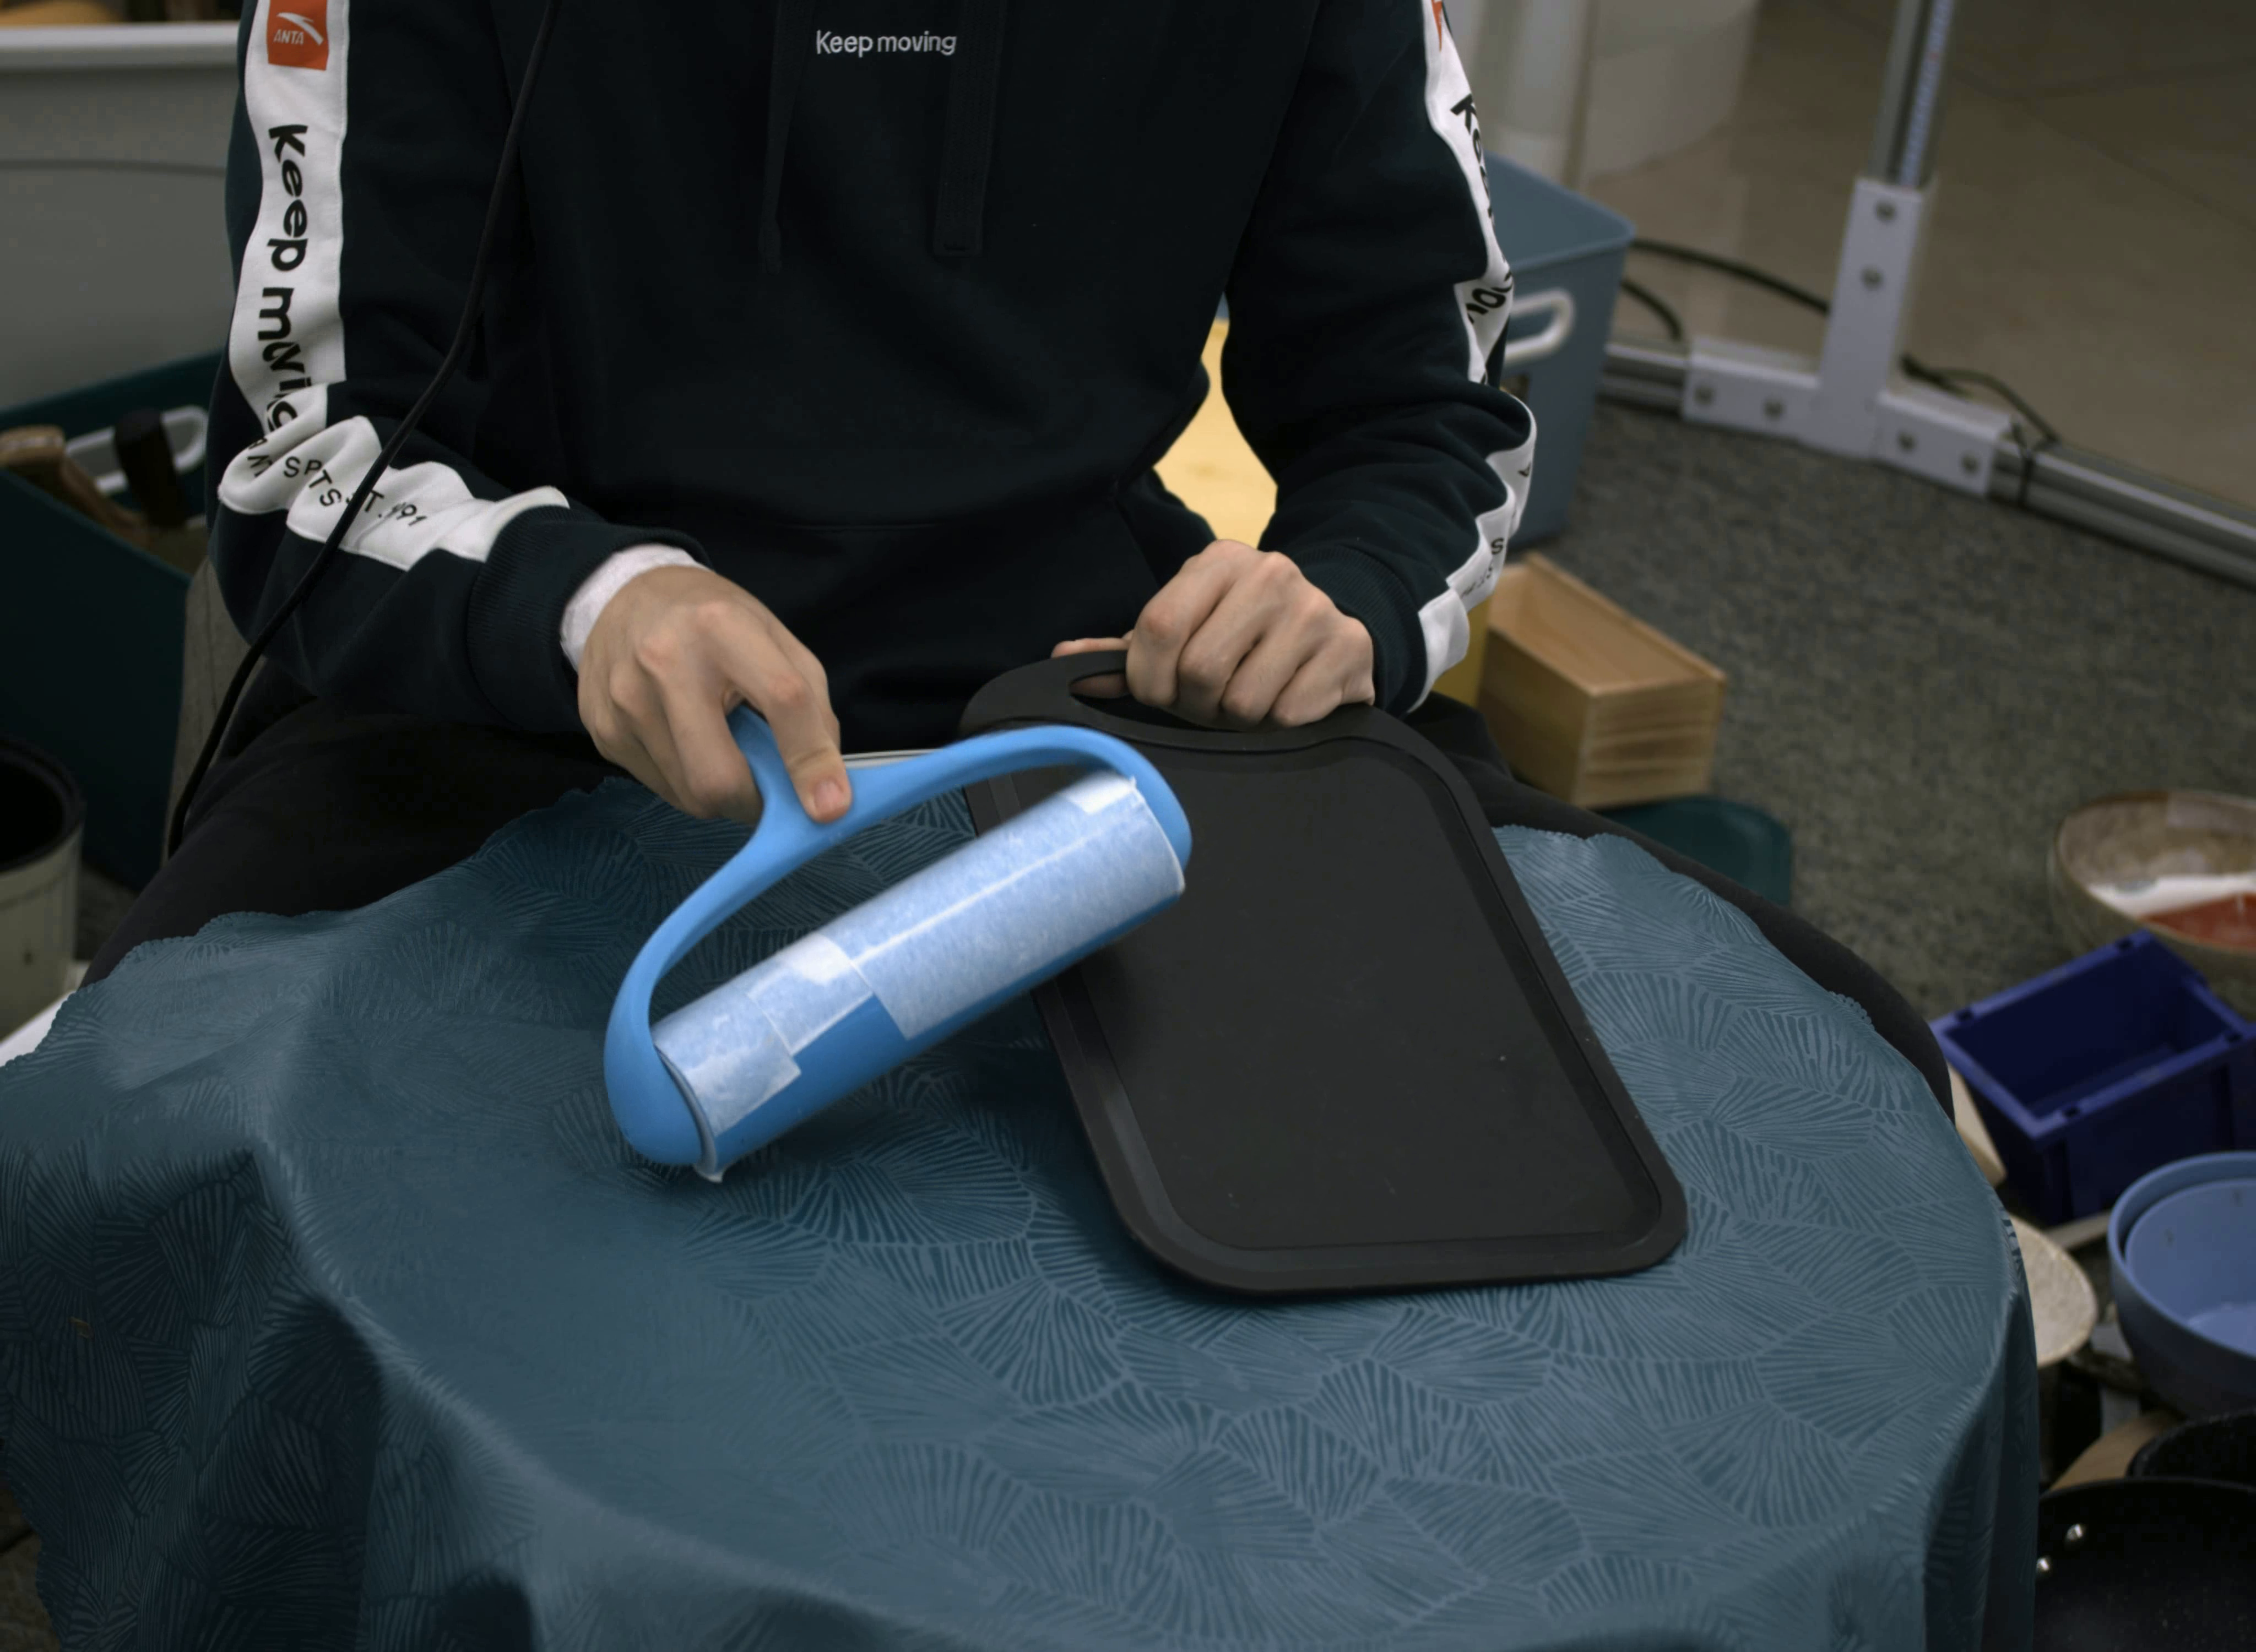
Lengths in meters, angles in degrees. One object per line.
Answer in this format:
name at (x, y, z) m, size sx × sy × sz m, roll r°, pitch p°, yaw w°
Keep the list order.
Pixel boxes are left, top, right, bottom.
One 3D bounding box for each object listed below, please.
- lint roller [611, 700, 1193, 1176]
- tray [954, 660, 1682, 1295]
lint roller at (-0.110, 0.008, 1.831) m, size 0.228 × 0.067 × 0.181 m, roll -34°, pitch 63°, yaw -20°
tray at (0.060, 0.046, 1.873) m, size 0.209 × 0.010 × 0.328 m, roll 1°, pitch 41°, yaw -21°
